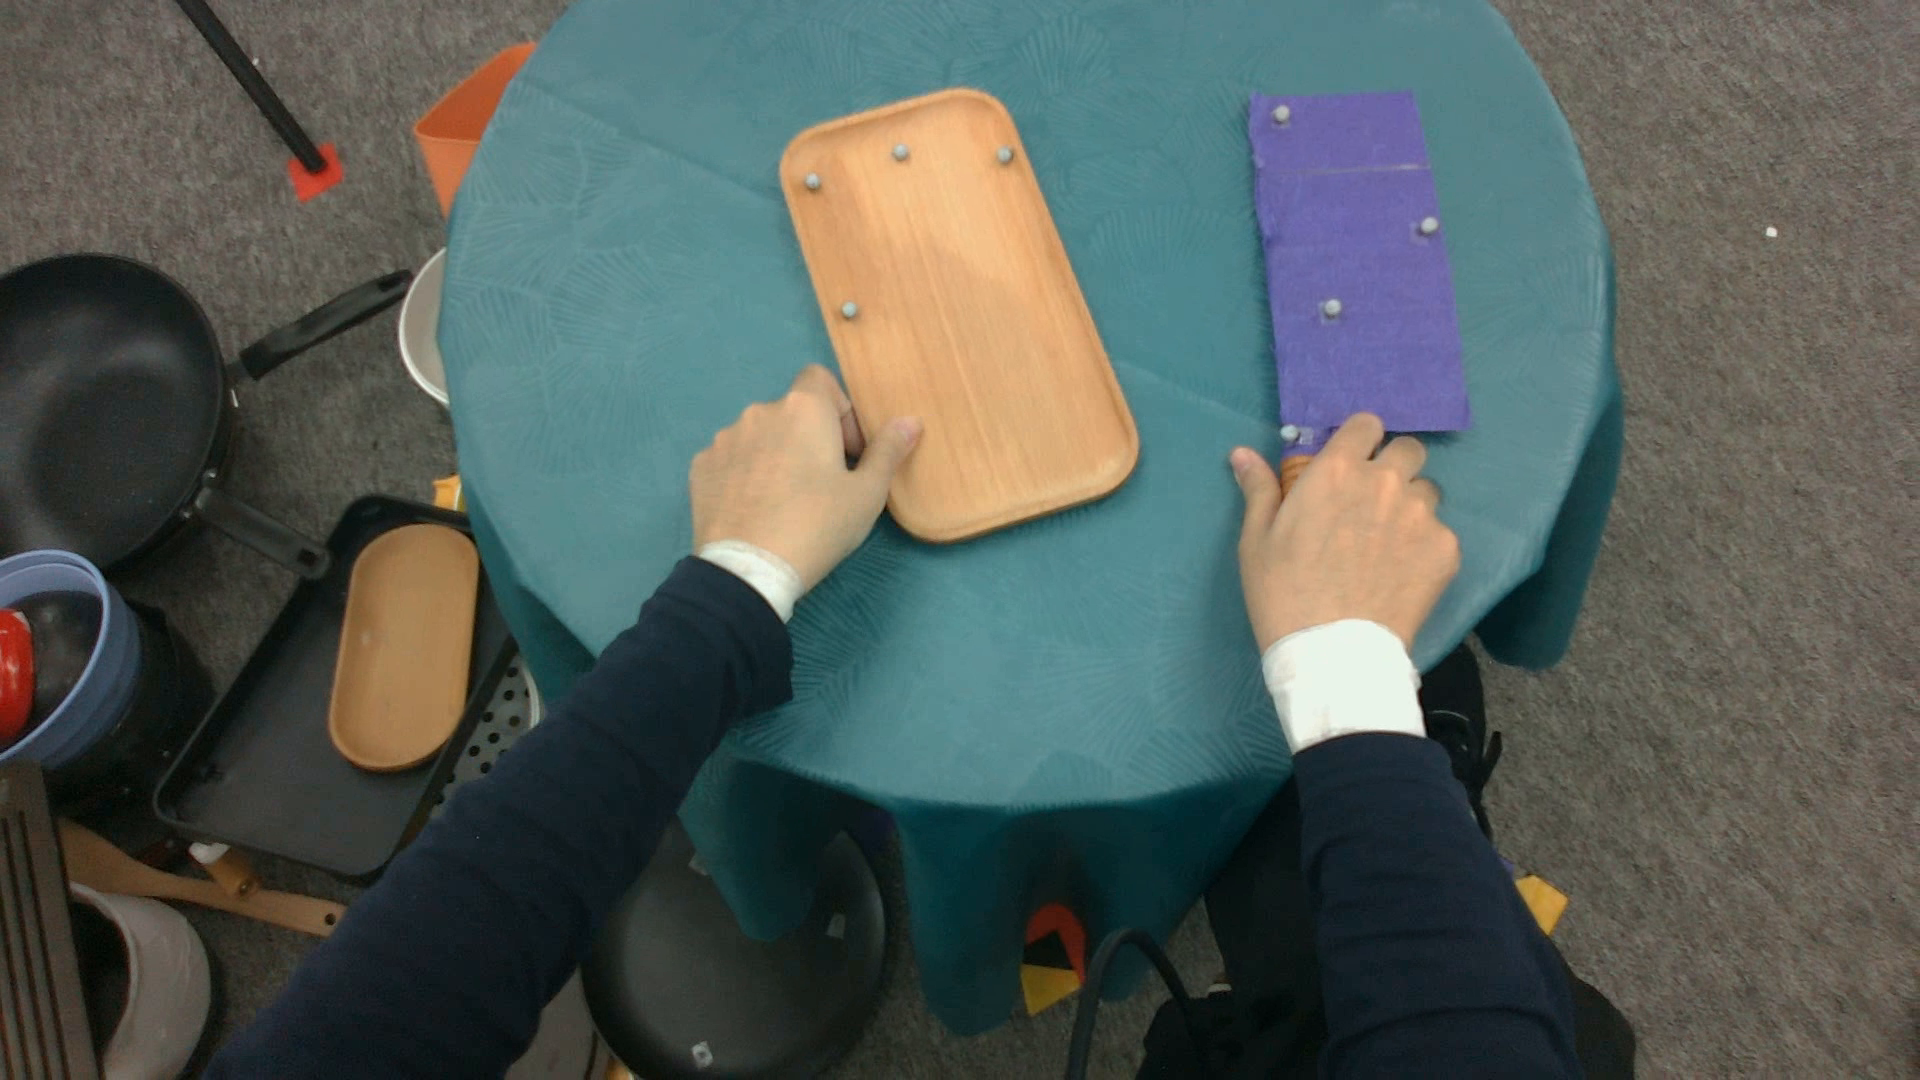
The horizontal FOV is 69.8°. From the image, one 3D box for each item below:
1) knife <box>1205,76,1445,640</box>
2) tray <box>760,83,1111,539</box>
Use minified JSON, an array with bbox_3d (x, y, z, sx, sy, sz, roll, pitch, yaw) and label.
[{"bbox_3d":[0.187,-0.105,0.678,0.104,0.032,0.316,-2,67,1],"label":"knife"},{"bbox_3d":[-0.016,-0.122,0.695,0.130,0.023,0.251,-15,69,-2],"label":"tray"}]
